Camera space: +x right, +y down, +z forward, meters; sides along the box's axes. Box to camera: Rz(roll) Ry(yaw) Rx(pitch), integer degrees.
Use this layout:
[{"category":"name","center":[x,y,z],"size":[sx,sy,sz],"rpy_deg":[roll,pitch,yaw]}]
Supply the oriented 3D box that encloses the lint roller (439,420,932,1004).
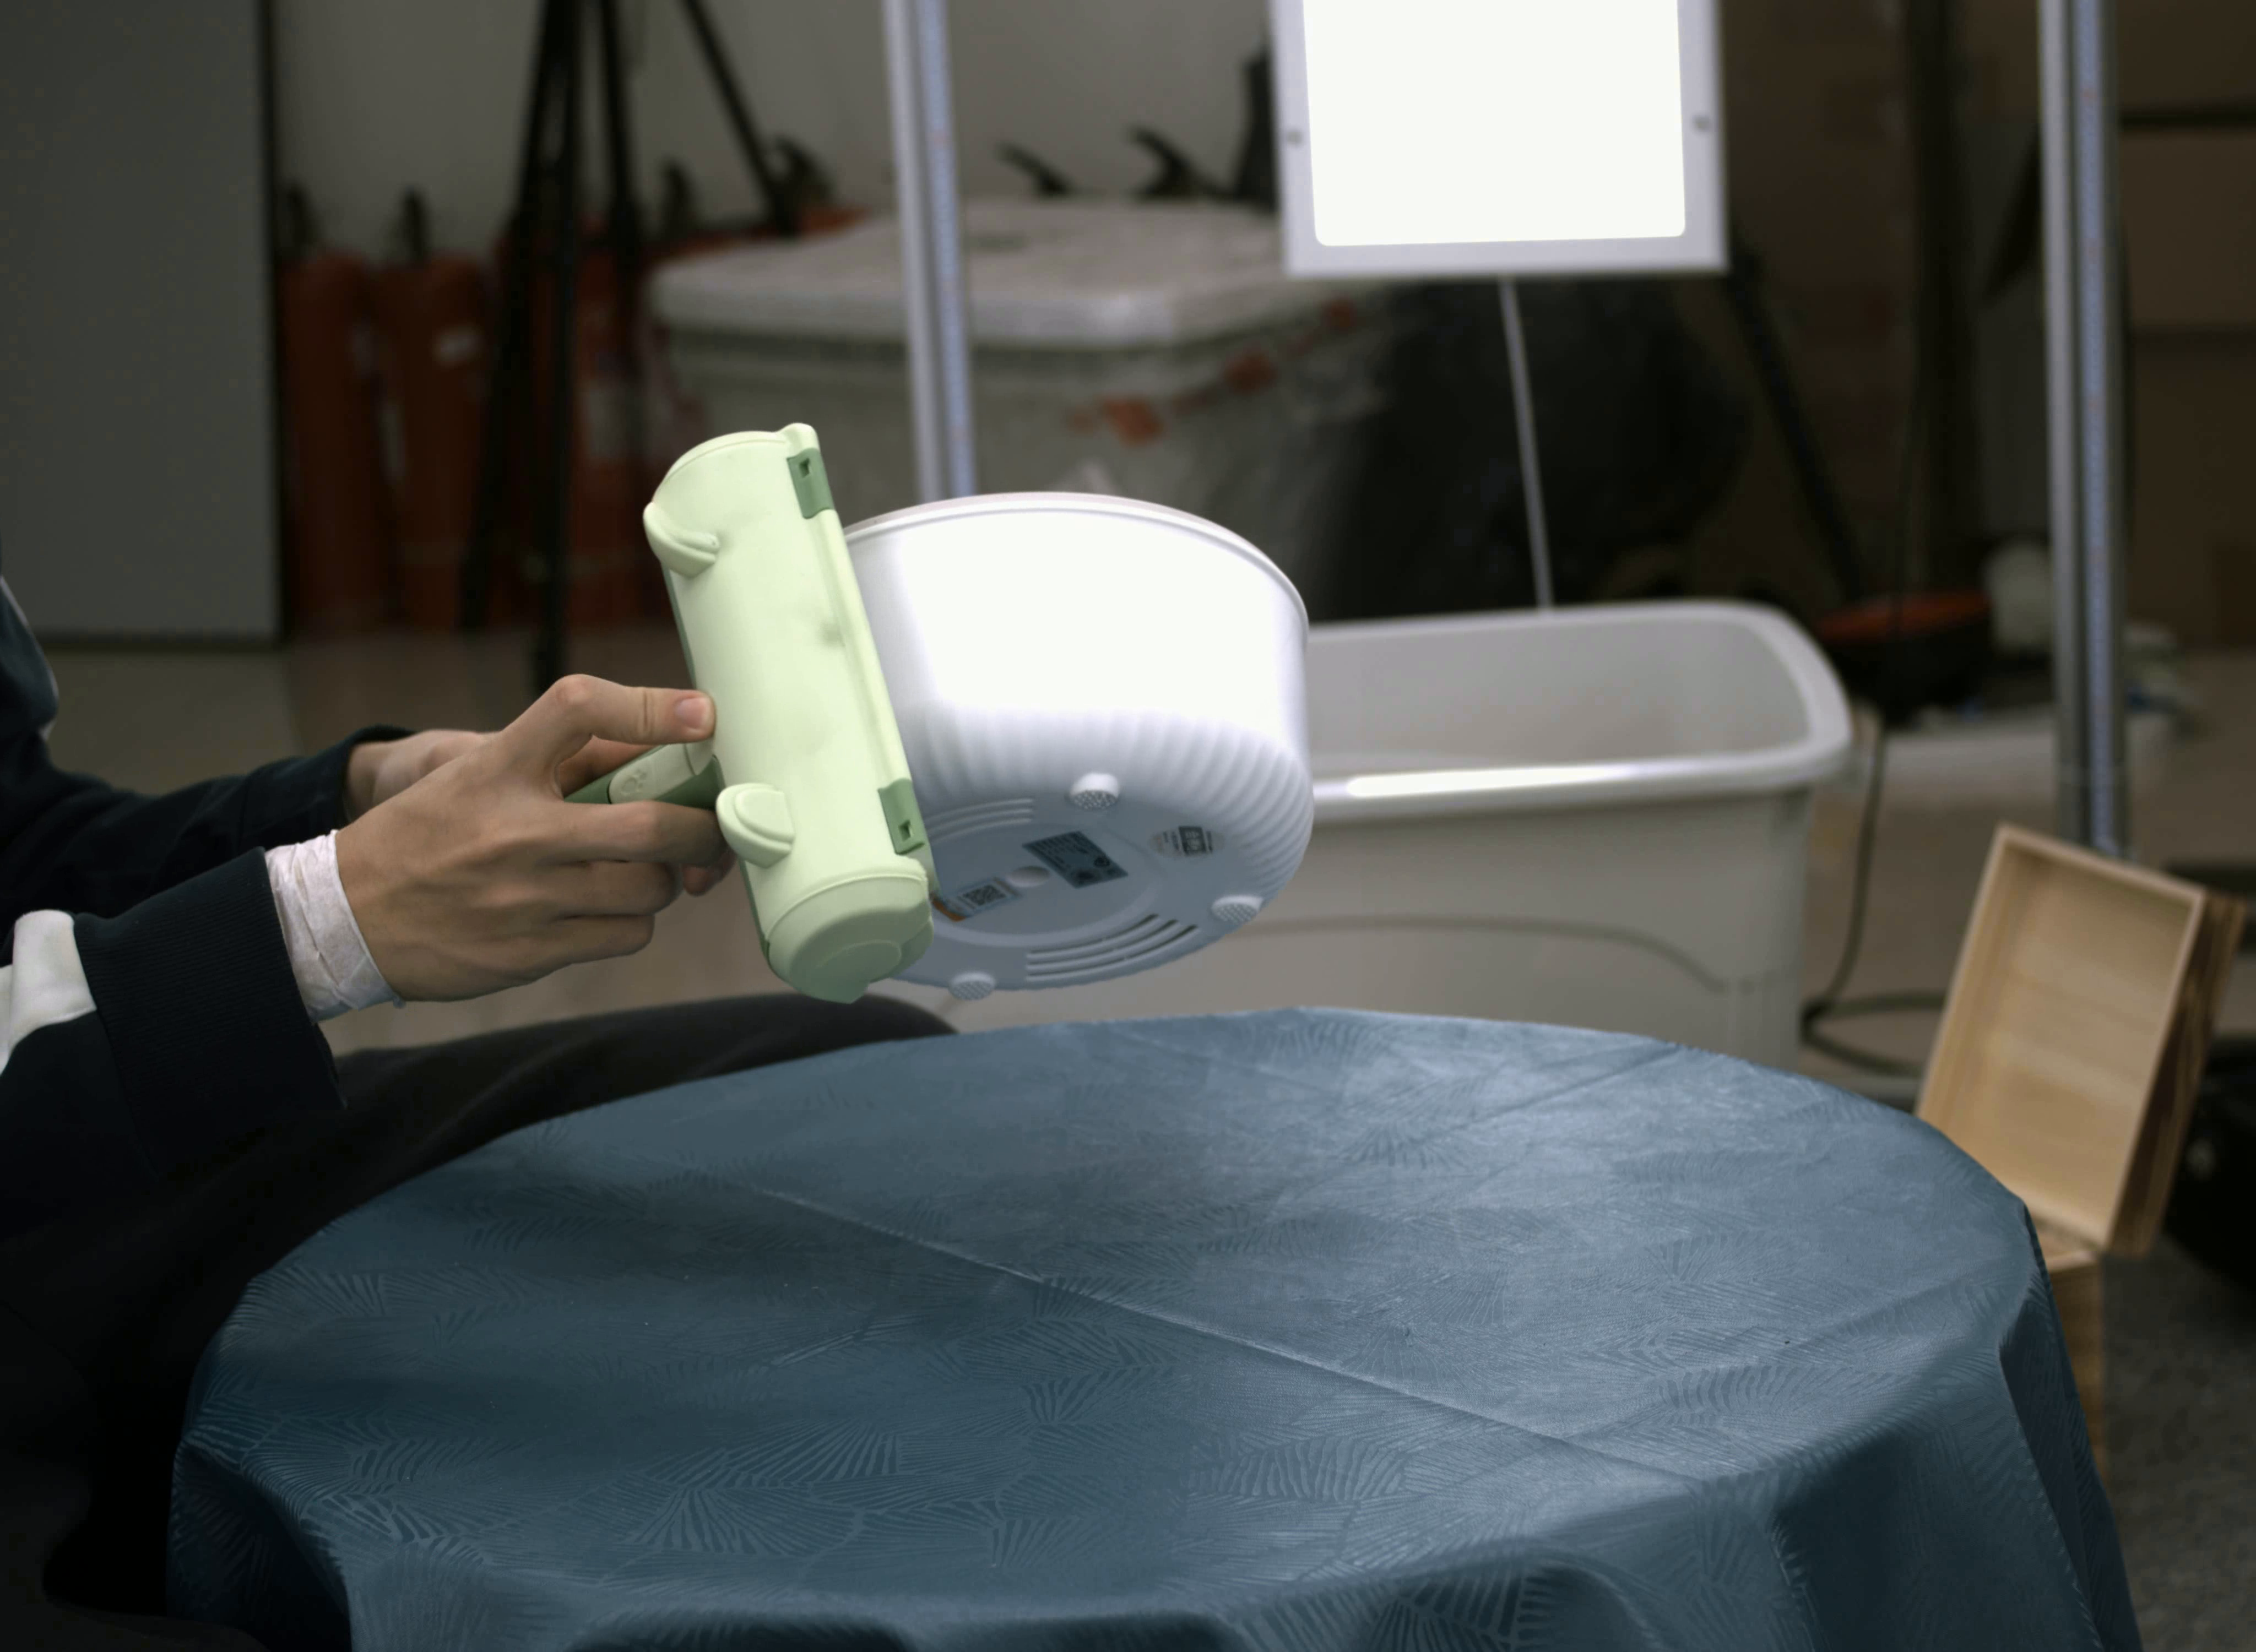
[{"category":"lint roller","center":[-0.159,-0.016,1.755],"size":[0.185,0.199,0.081],"rpy_deg":[-28,-35,16]}]

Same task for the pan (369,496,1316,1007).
[{"category":"pan","center":[-0.103,0.005,1.877],"size":[0.360,0.102,0.198],"rpy_deg":[-19,-29,24]}]
